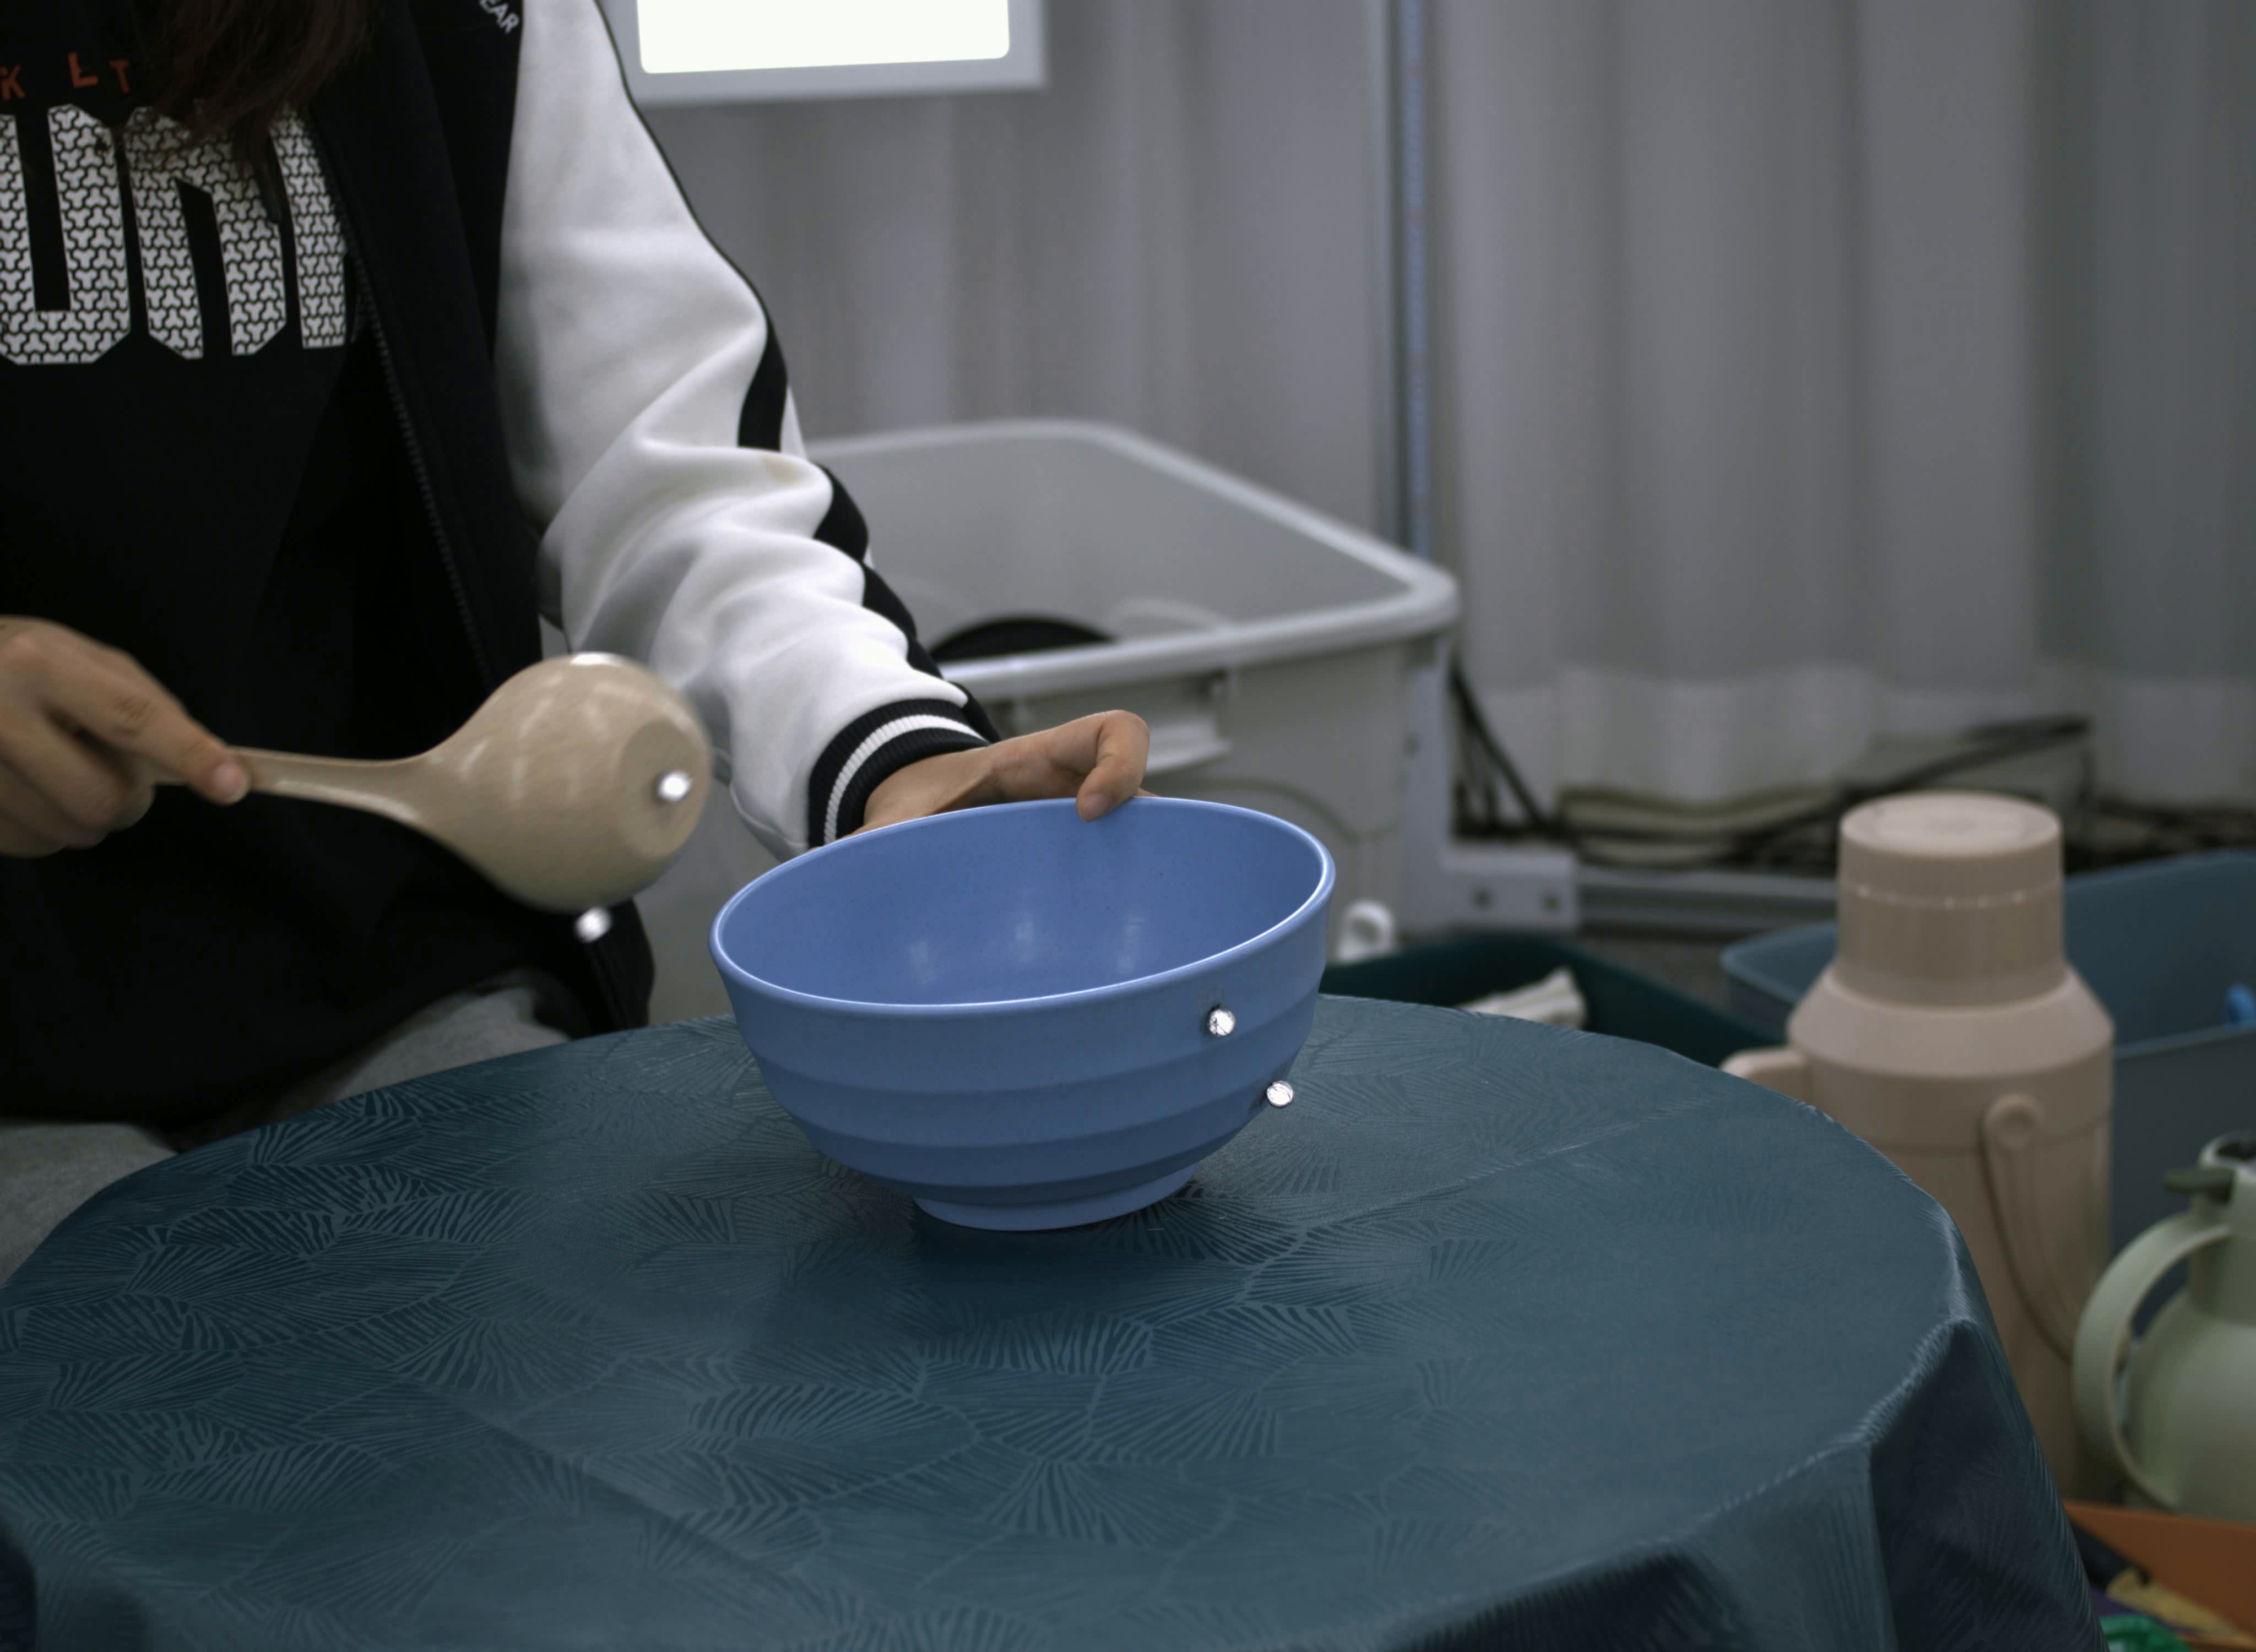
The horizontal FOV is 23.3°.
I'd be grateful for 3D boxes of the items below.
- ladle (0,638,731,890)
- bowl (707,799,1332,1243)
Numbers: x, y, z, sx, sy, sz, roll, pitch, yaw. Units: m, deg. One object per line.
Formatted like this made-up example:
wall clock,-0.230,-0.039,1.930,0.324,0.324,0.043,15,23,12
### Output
ladle,-0.224,-0.031,1.605,0.255,0.072,0.073,10,25,38
bowl,-0.028,0.069,1.709,0.196,0.095,0.198,-8,18,2
